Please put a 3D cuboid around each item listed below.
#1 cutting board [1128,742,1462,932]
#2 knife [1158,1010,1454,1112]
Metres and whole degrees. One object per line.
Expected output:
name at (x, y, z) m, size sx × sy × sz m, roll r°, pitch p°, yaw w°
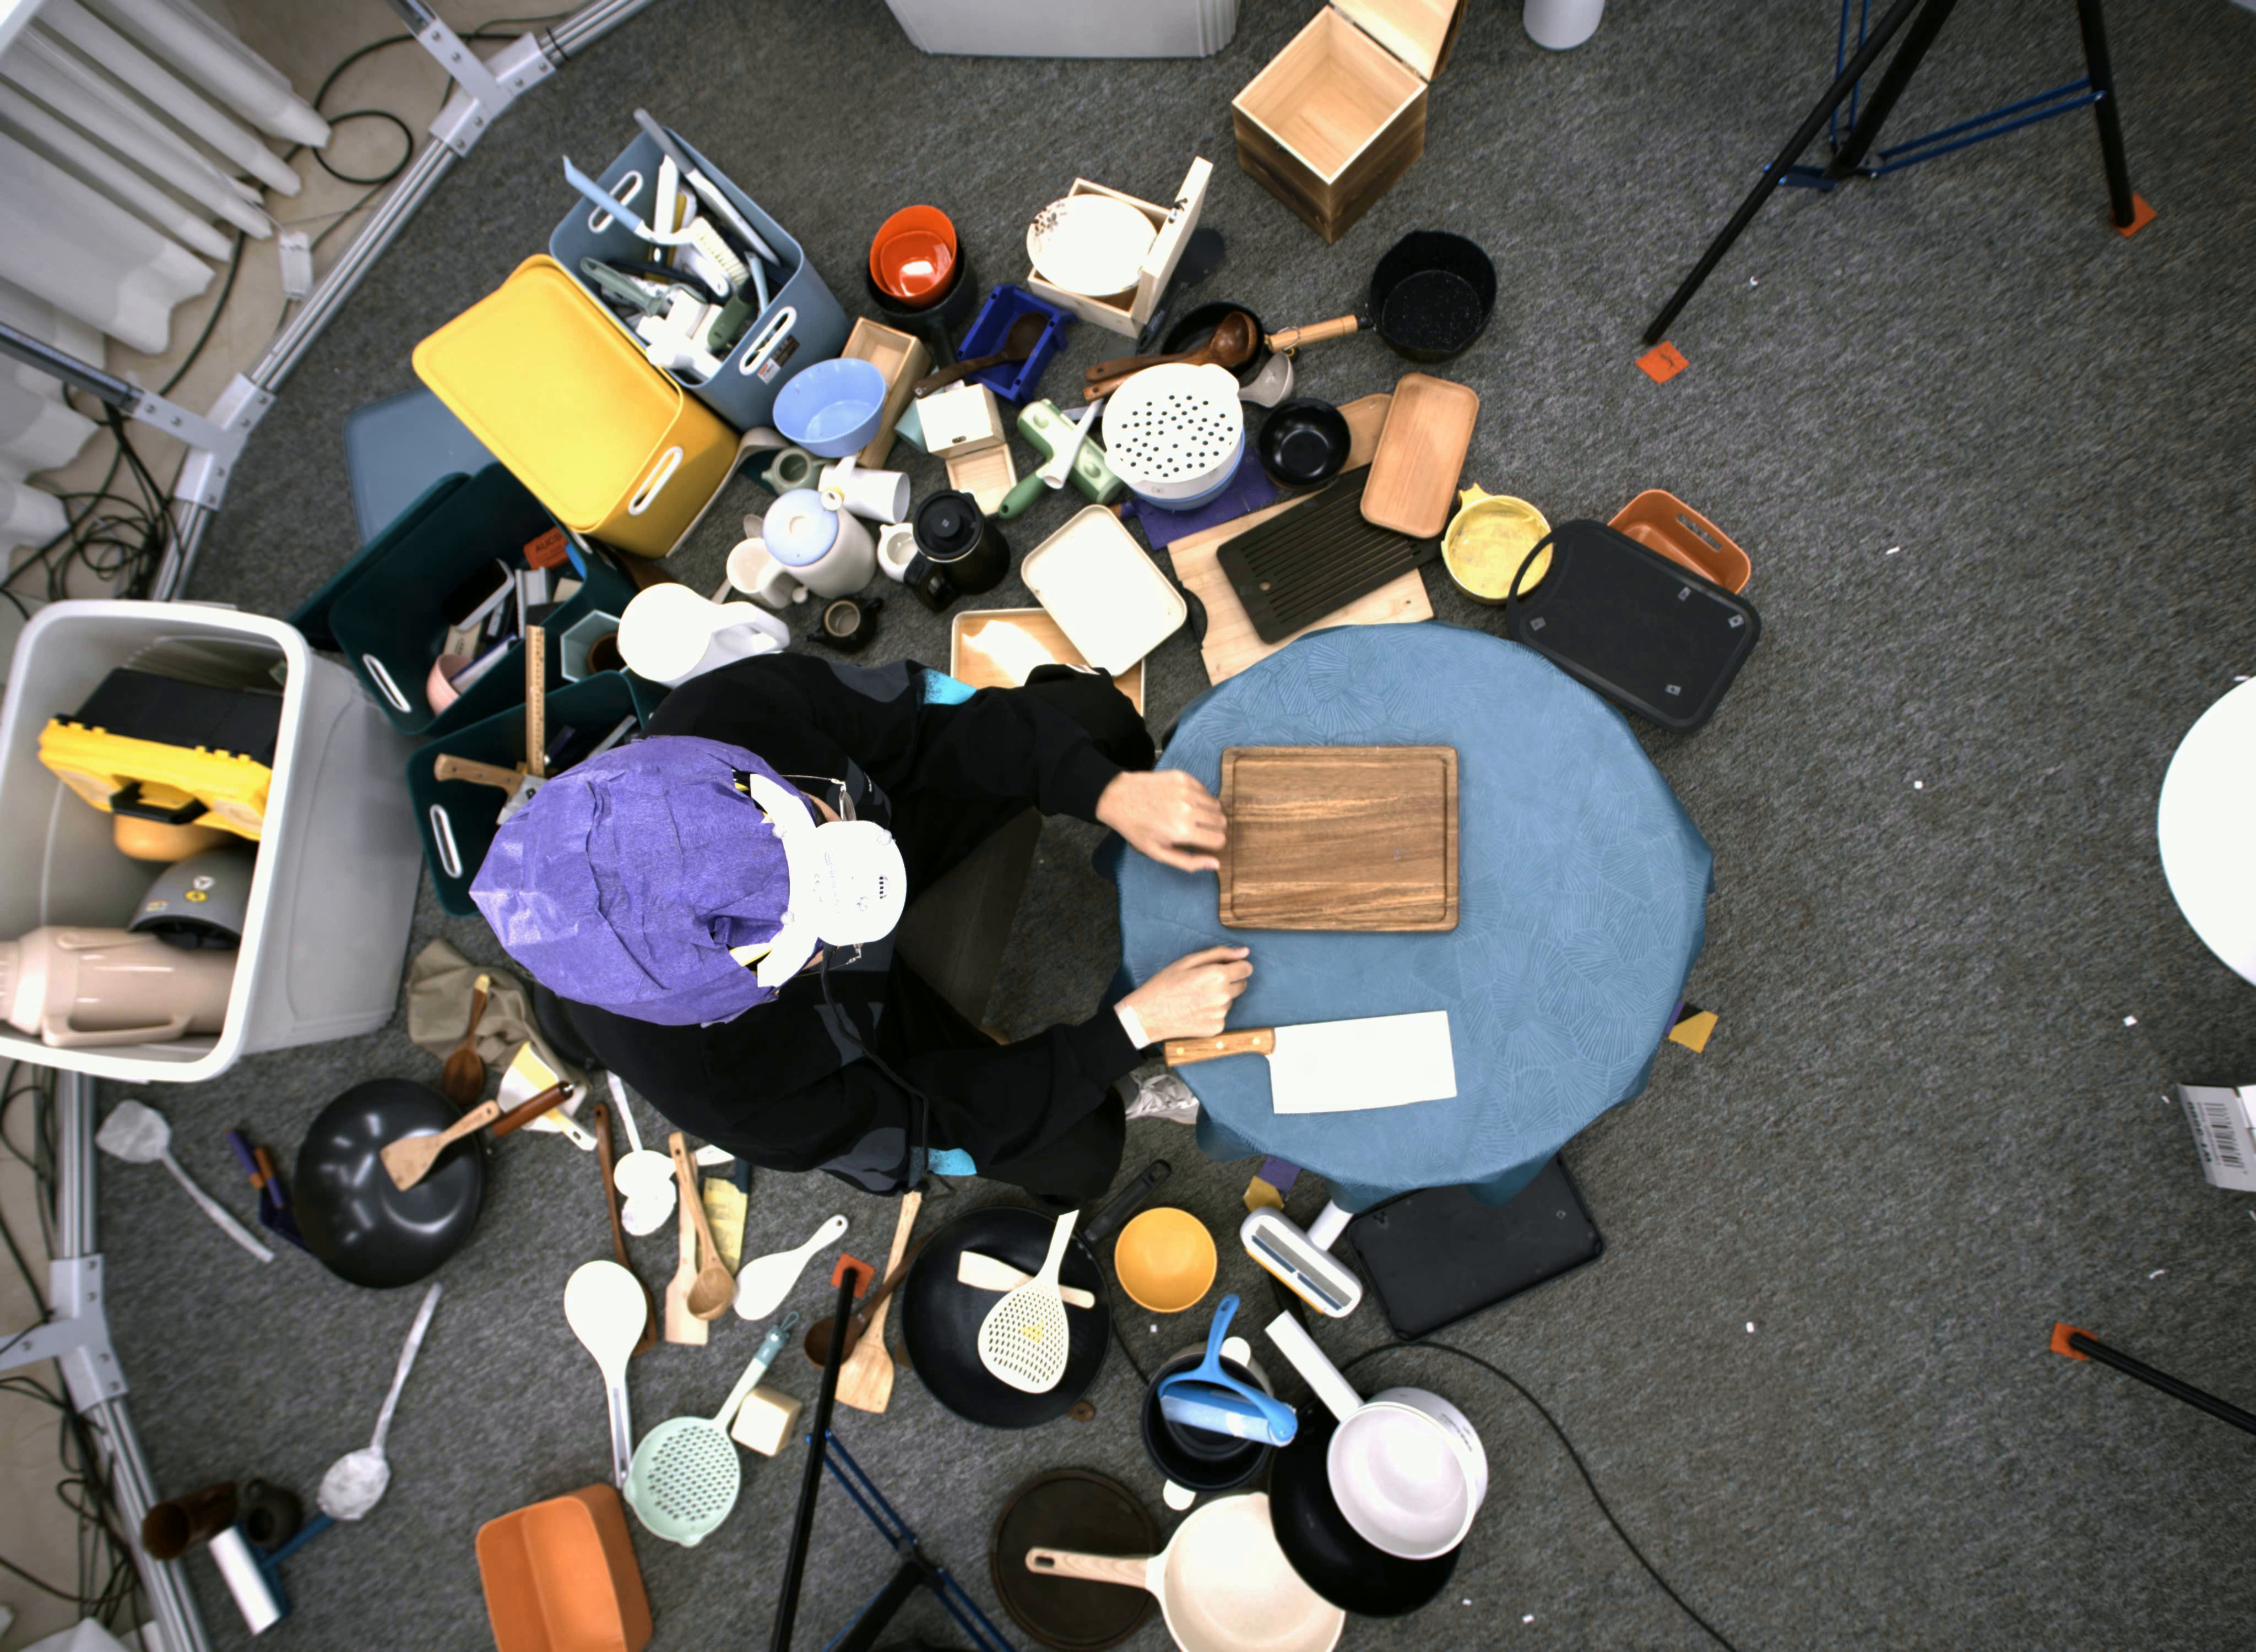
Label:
cutting board at (0.174, 0.012, 1.471) m, size 0.353 × 0.023 × 0.200 m, roll 0°, pitch 87°, yaw 11°
knife at (0.187, 0.251, 1.458) m, size 0.307 × 0.021 × 0.092 m, roll -7°, pitch 87°, yaw 8°
